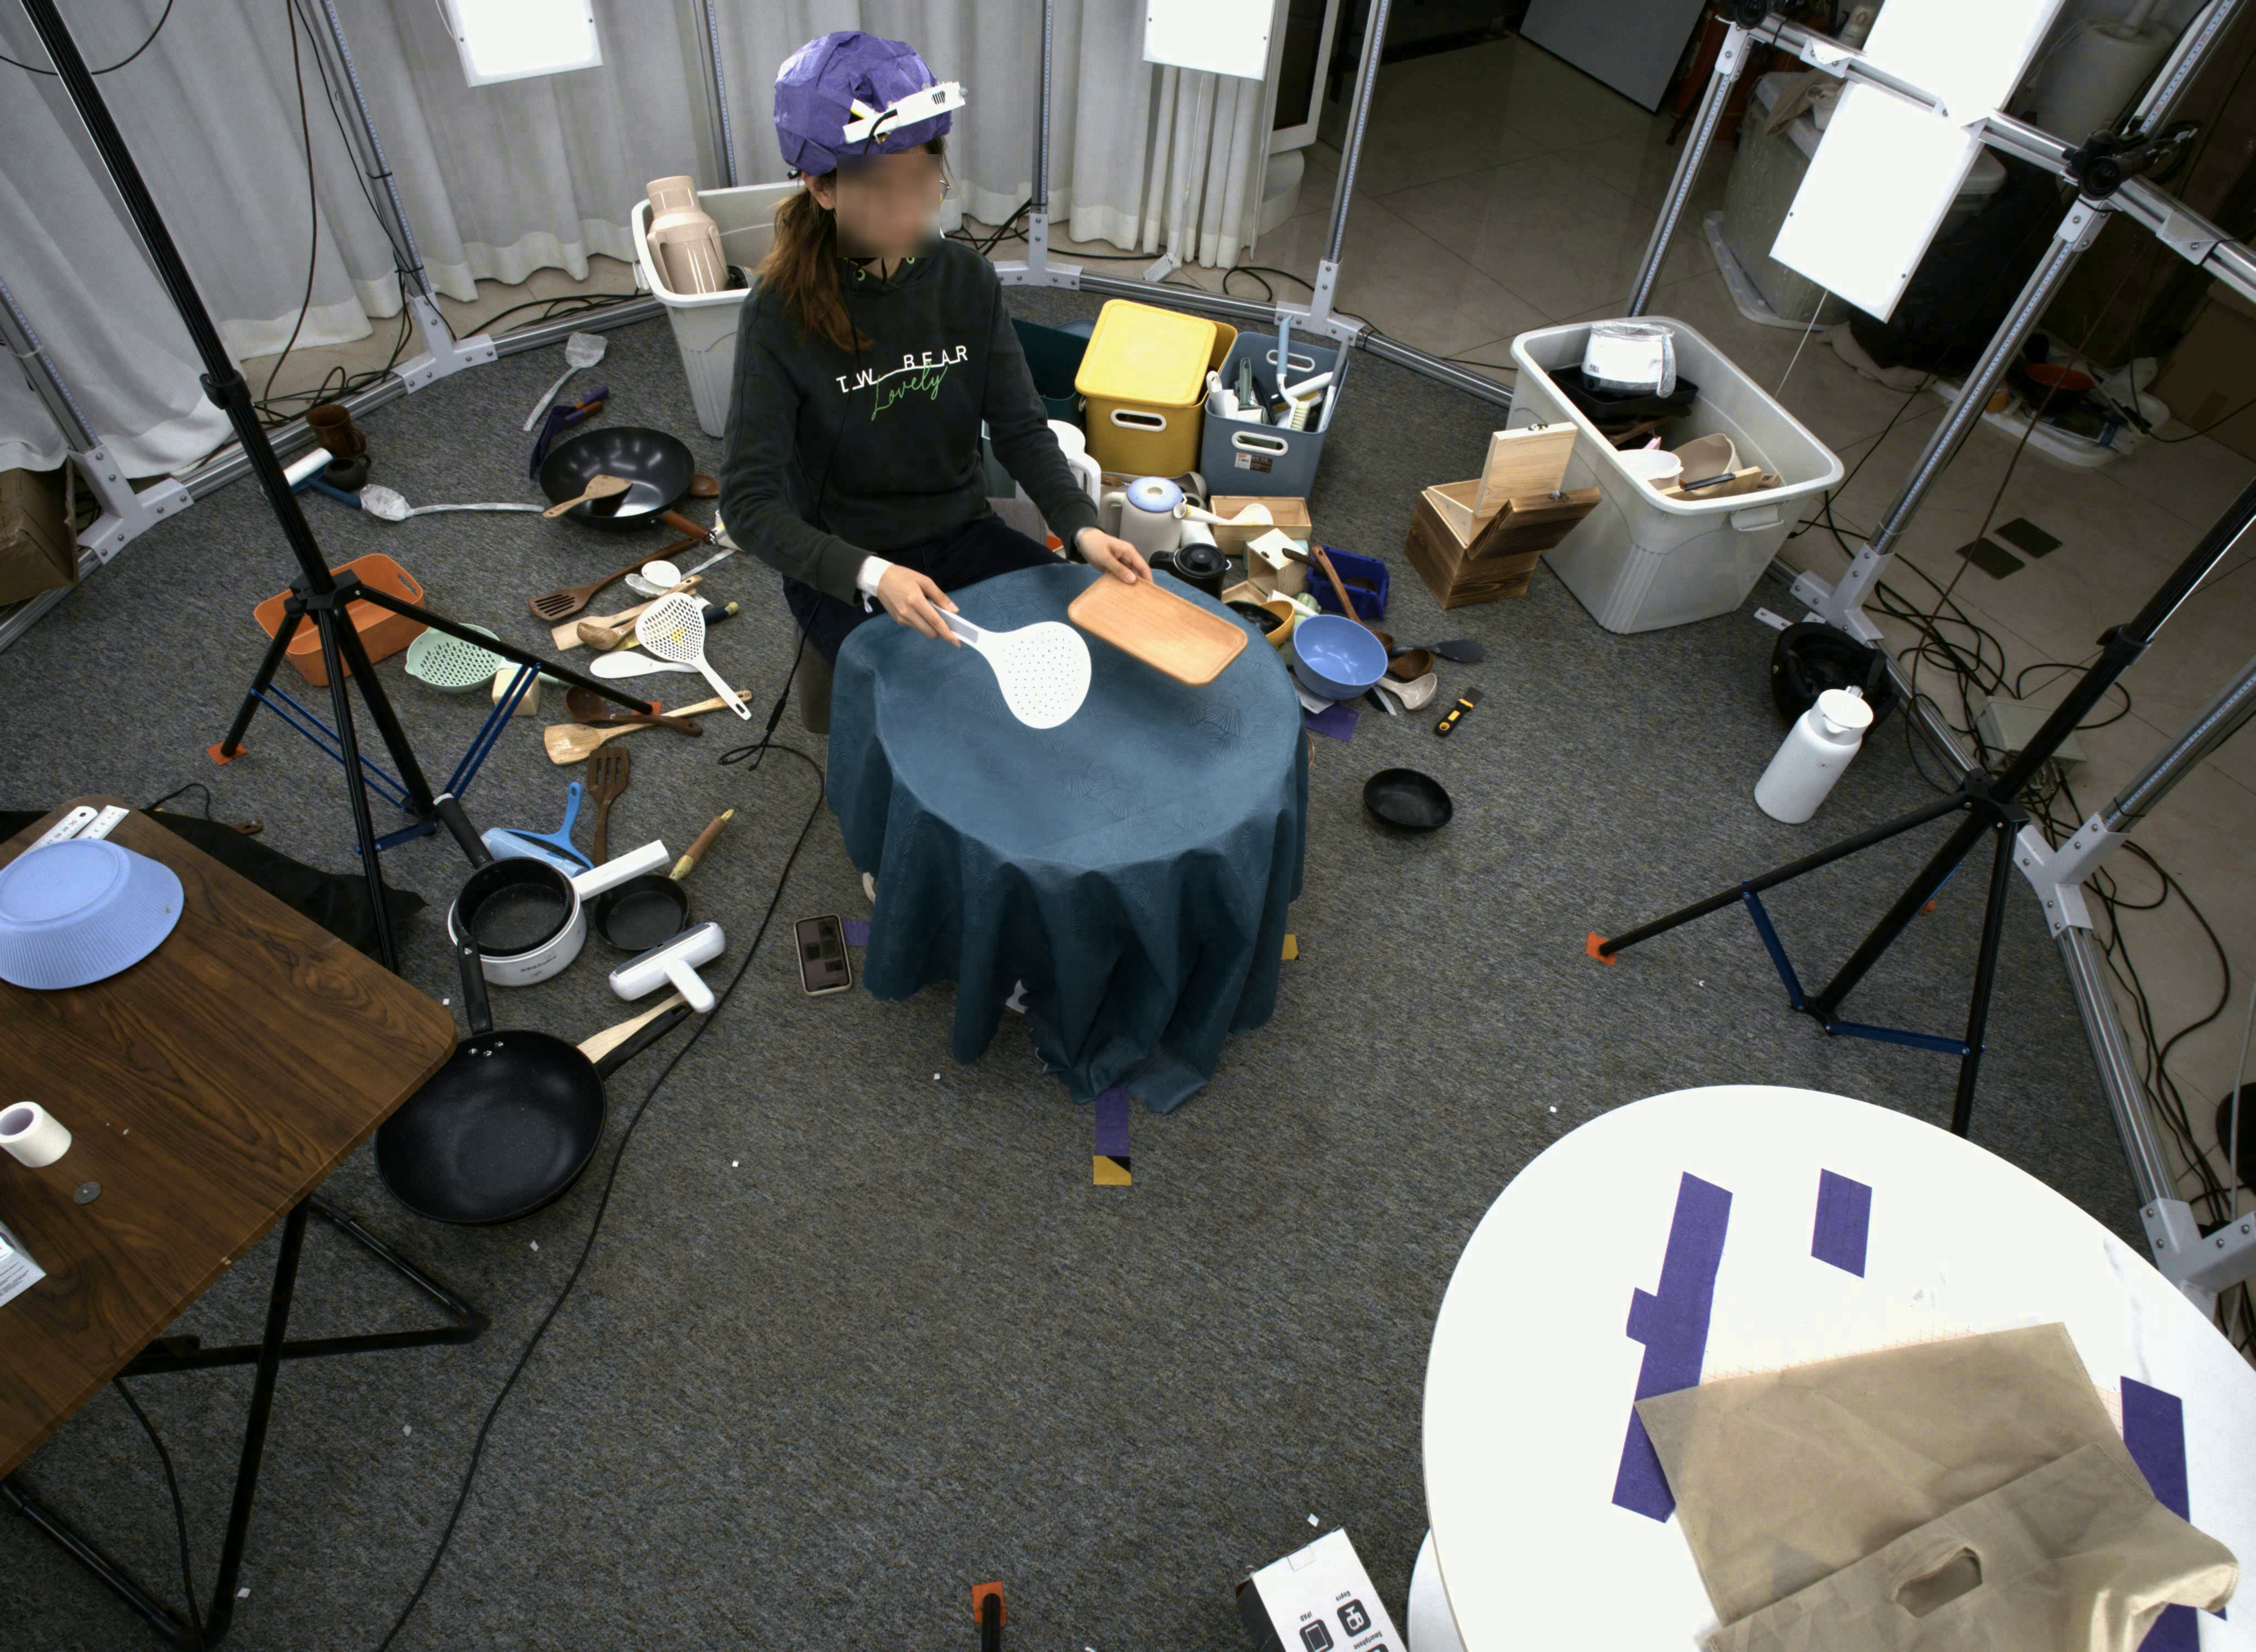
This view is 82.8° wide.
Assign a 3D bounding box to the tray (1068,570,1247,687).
[{"bbox_3d":[0.040,-0.280,1.813,0.254,0.022,0.132,31,57,27],"label":"tray"}]

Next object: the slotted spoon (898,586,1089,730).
[{"bbox_3d":[-0.183,-0.241,1.704,0.354,0.135,0.045,30,13,26],"label":"slotted spoon"}]
